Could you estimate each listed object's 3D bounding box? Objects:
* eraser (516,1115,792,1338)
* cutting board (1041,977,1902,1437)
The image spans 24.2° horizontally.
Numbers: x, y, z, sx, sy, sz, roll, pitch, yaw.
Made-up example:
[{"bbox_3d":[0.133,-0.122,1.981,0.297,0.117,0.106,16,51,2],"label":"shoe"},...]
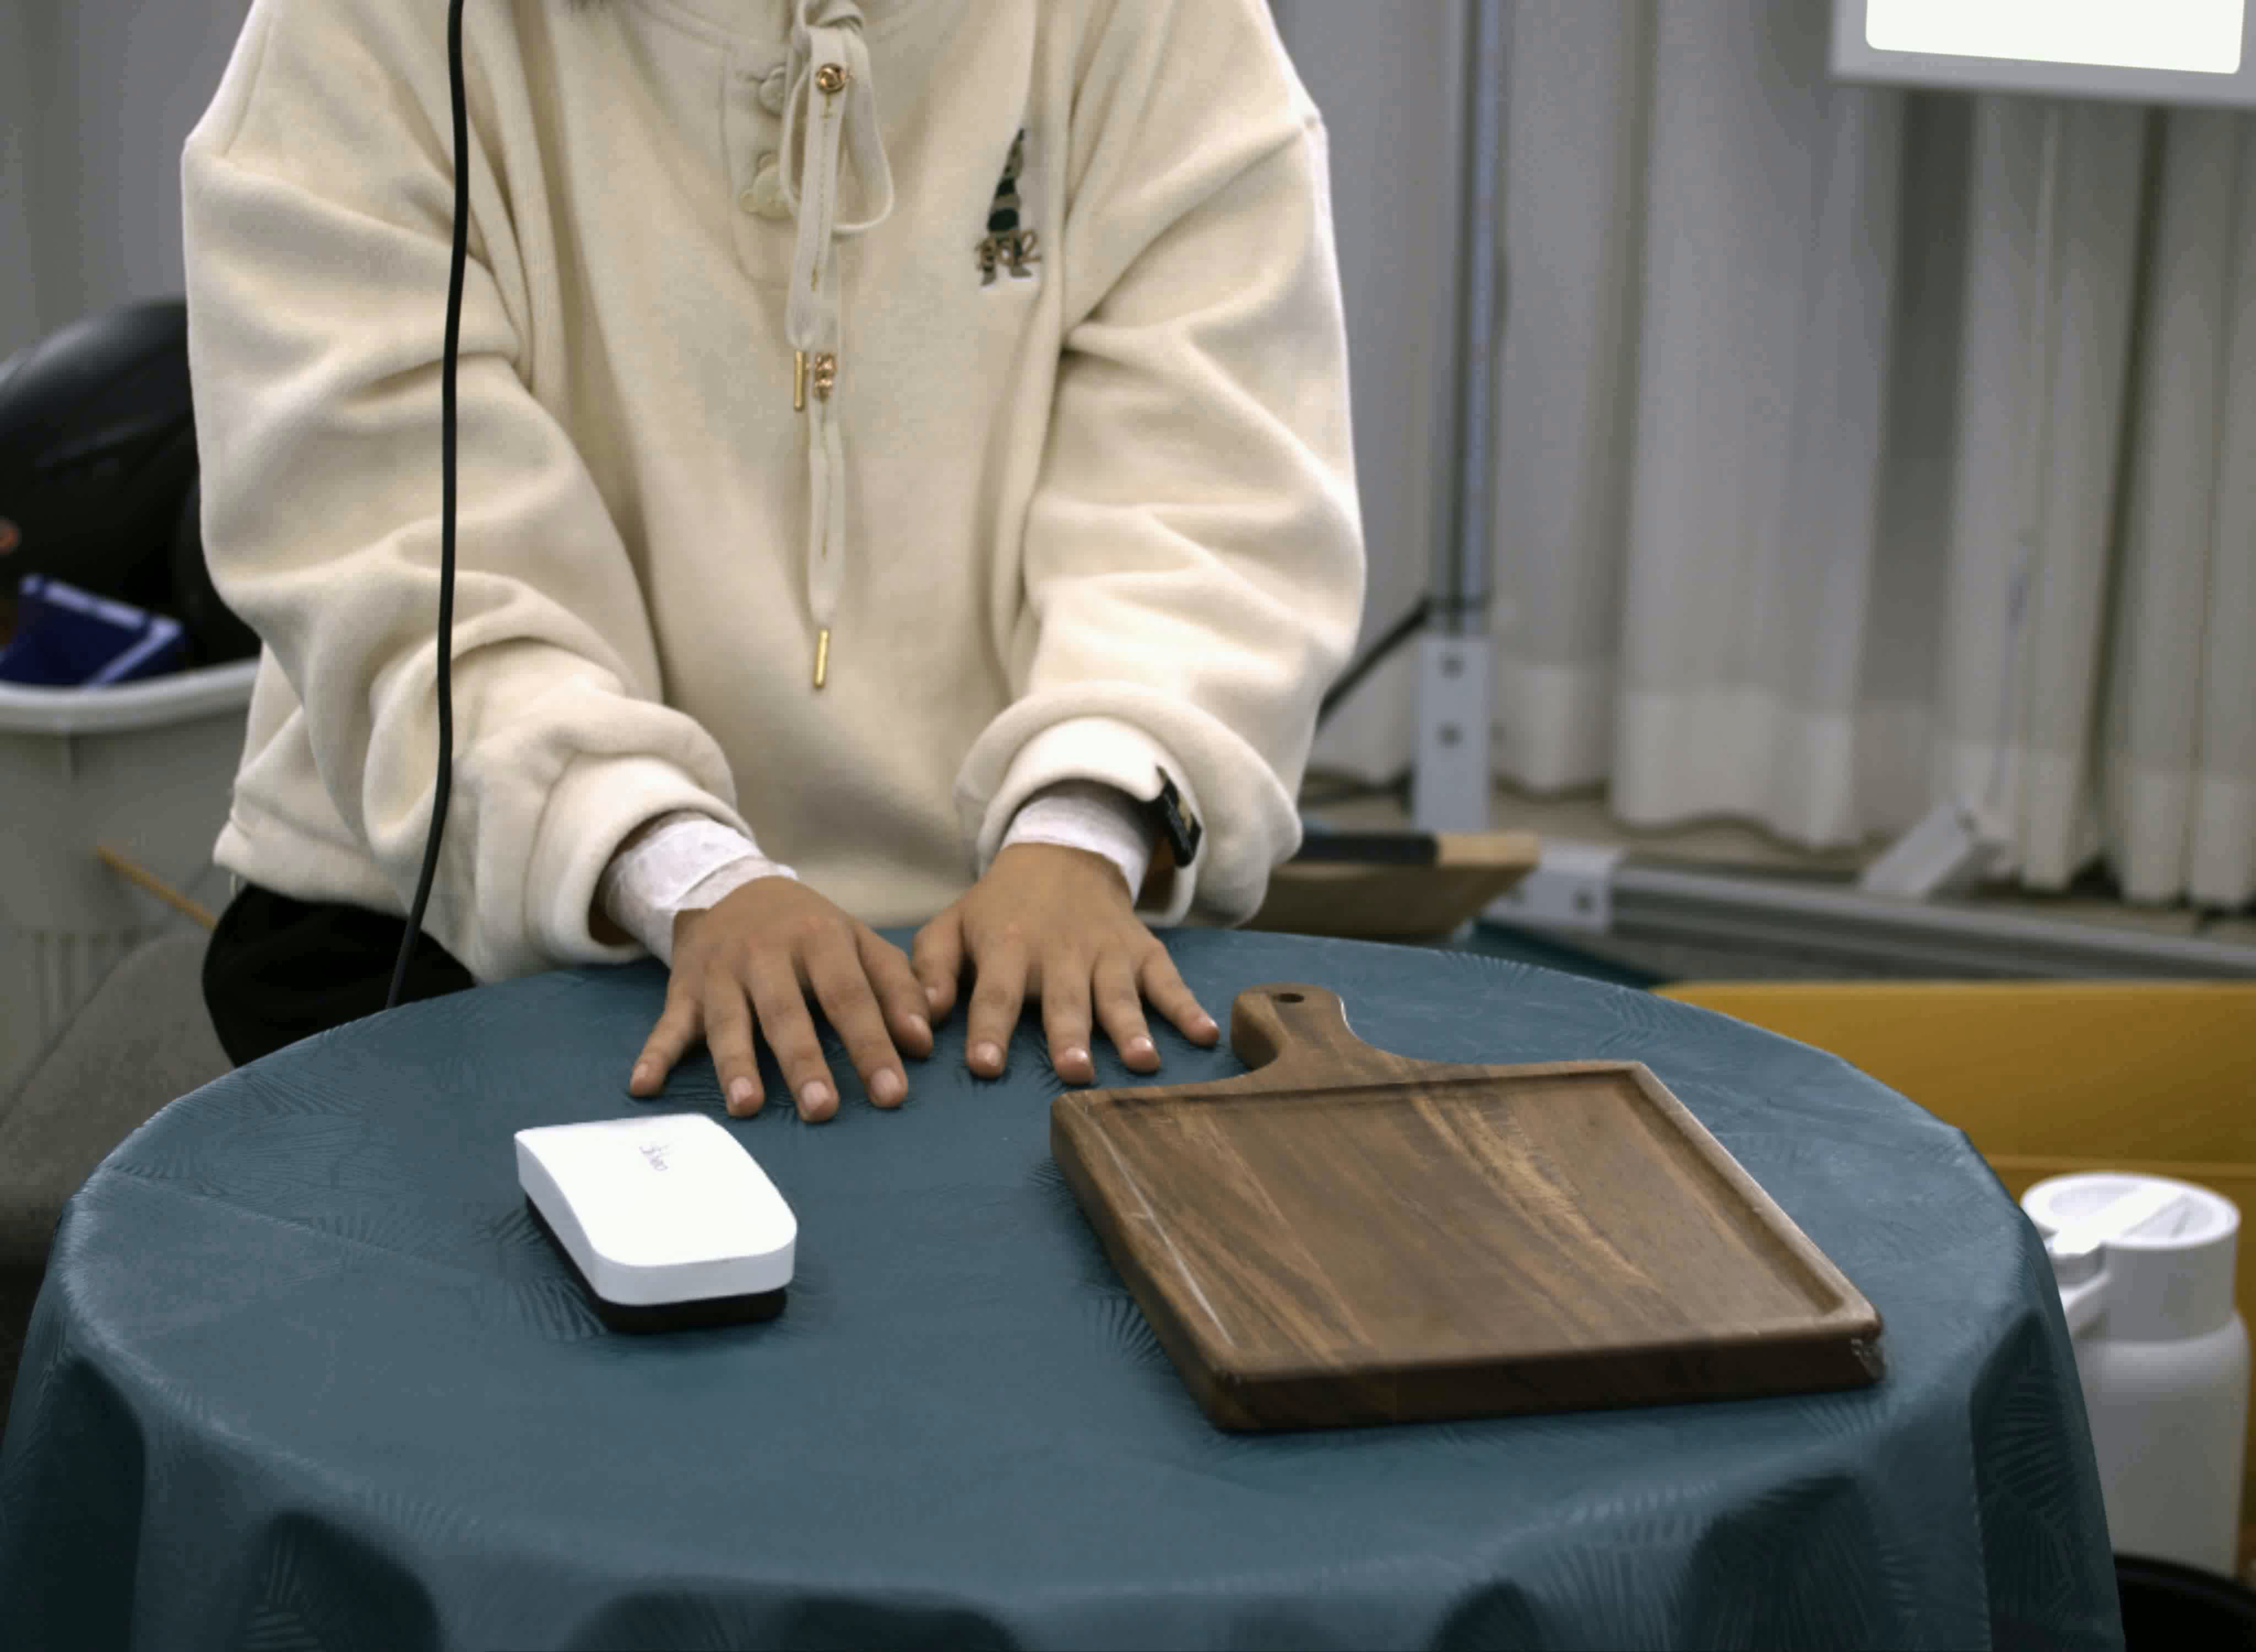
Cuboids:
[{"bbox_3d":[-0.140,0.113,1.556,0.063,0.035,0.130,-5,17,-16],"label":"eraser"},{"bbox_3d":[0.084,0.106,1.604,0.201,0.023,0.349,-2,16,-12],"label":"cutting board"}]
